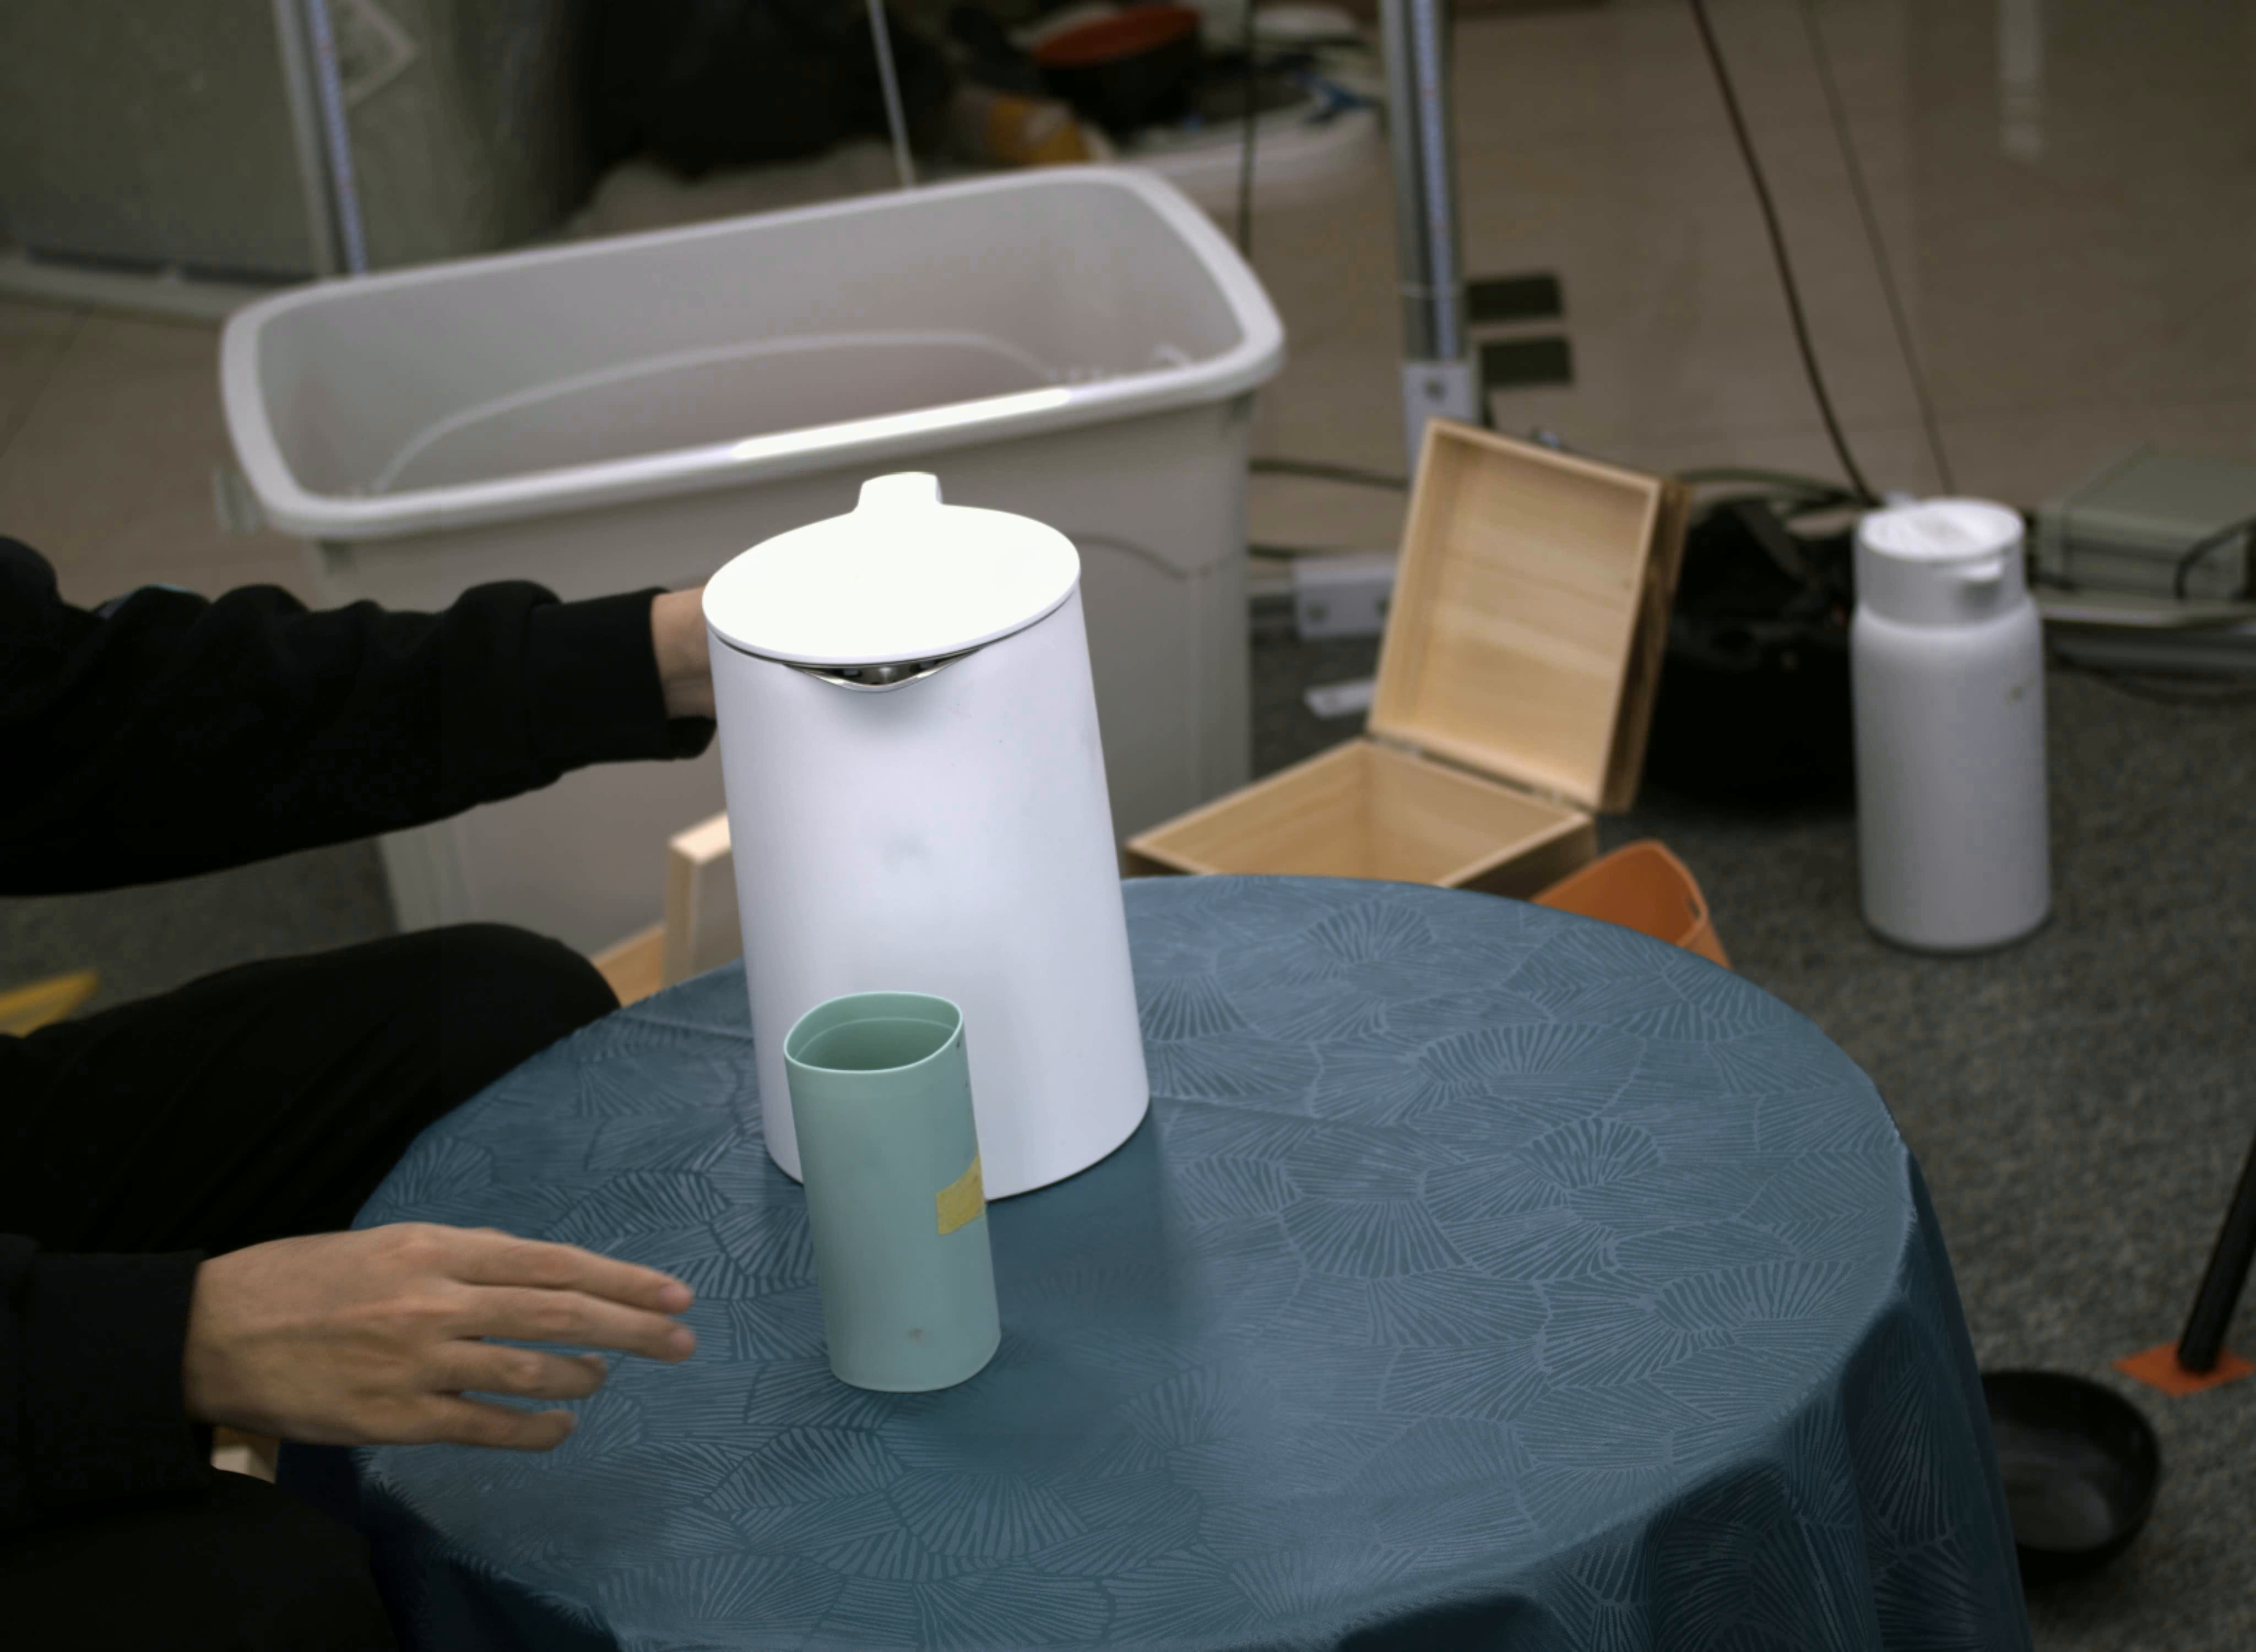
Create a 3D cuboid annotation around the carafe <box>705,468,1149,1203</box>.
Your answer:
[{"bbox_3d":[-0.076,-0.002,2.185,0.152,0.244,0.210,-4,26,3],"label":"carafe"}]

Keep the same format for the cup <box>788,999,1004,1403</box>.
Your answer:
[{"bbox_3d":[-0.083,0.134,2.026,0.066,0.134,0.066,-5,27,2],"label":"cup"}]
